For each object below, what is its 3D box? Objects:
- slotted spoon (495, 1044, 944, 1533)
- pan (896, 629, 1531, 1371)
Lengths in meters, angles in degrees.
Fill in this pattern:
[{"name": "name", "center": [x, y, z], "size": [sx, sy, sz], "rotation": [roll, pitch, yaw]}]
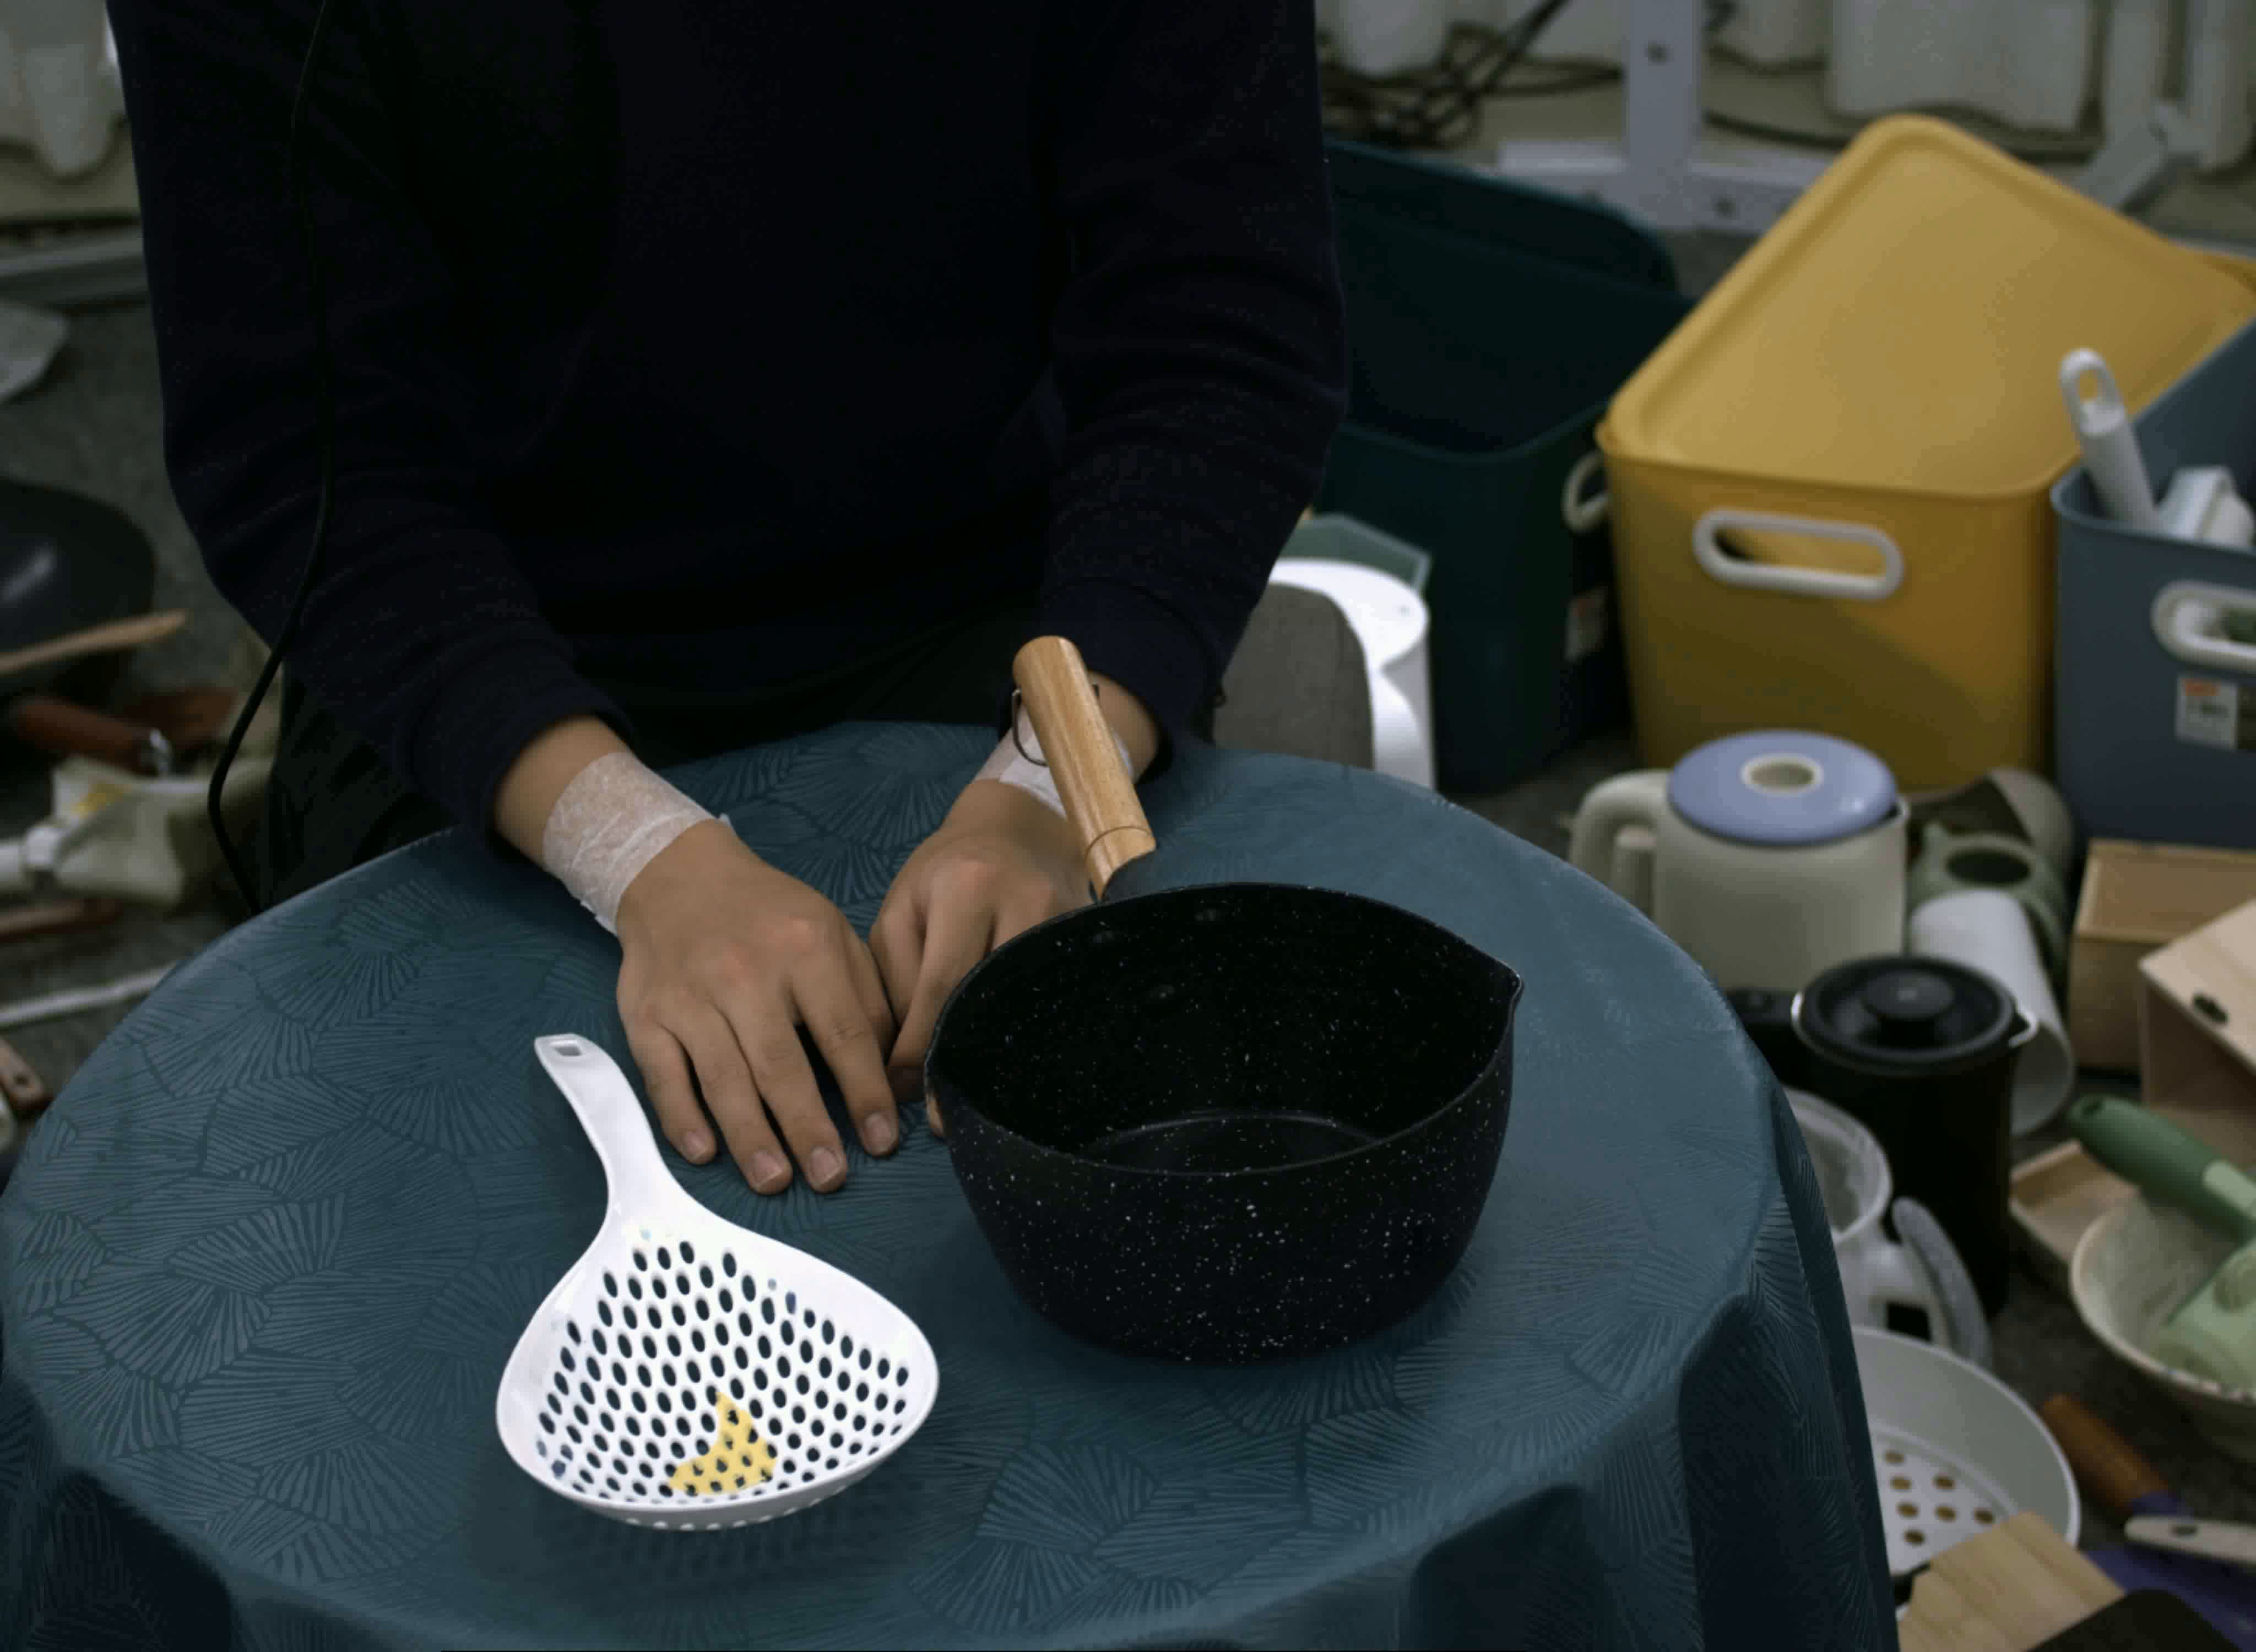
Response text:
[{"name": "slotted spoon", "center": [-0.154, 0.136, 1.804], "size": [0.137, 0.050, 0.351], "rotation": [-12, 30, -13]}, {"name": "pan", "center": [0.011, 0.054, 1.876], "size": [0.207, 0.107, 0.346], "rotation": [-10, 29, -12]}]
